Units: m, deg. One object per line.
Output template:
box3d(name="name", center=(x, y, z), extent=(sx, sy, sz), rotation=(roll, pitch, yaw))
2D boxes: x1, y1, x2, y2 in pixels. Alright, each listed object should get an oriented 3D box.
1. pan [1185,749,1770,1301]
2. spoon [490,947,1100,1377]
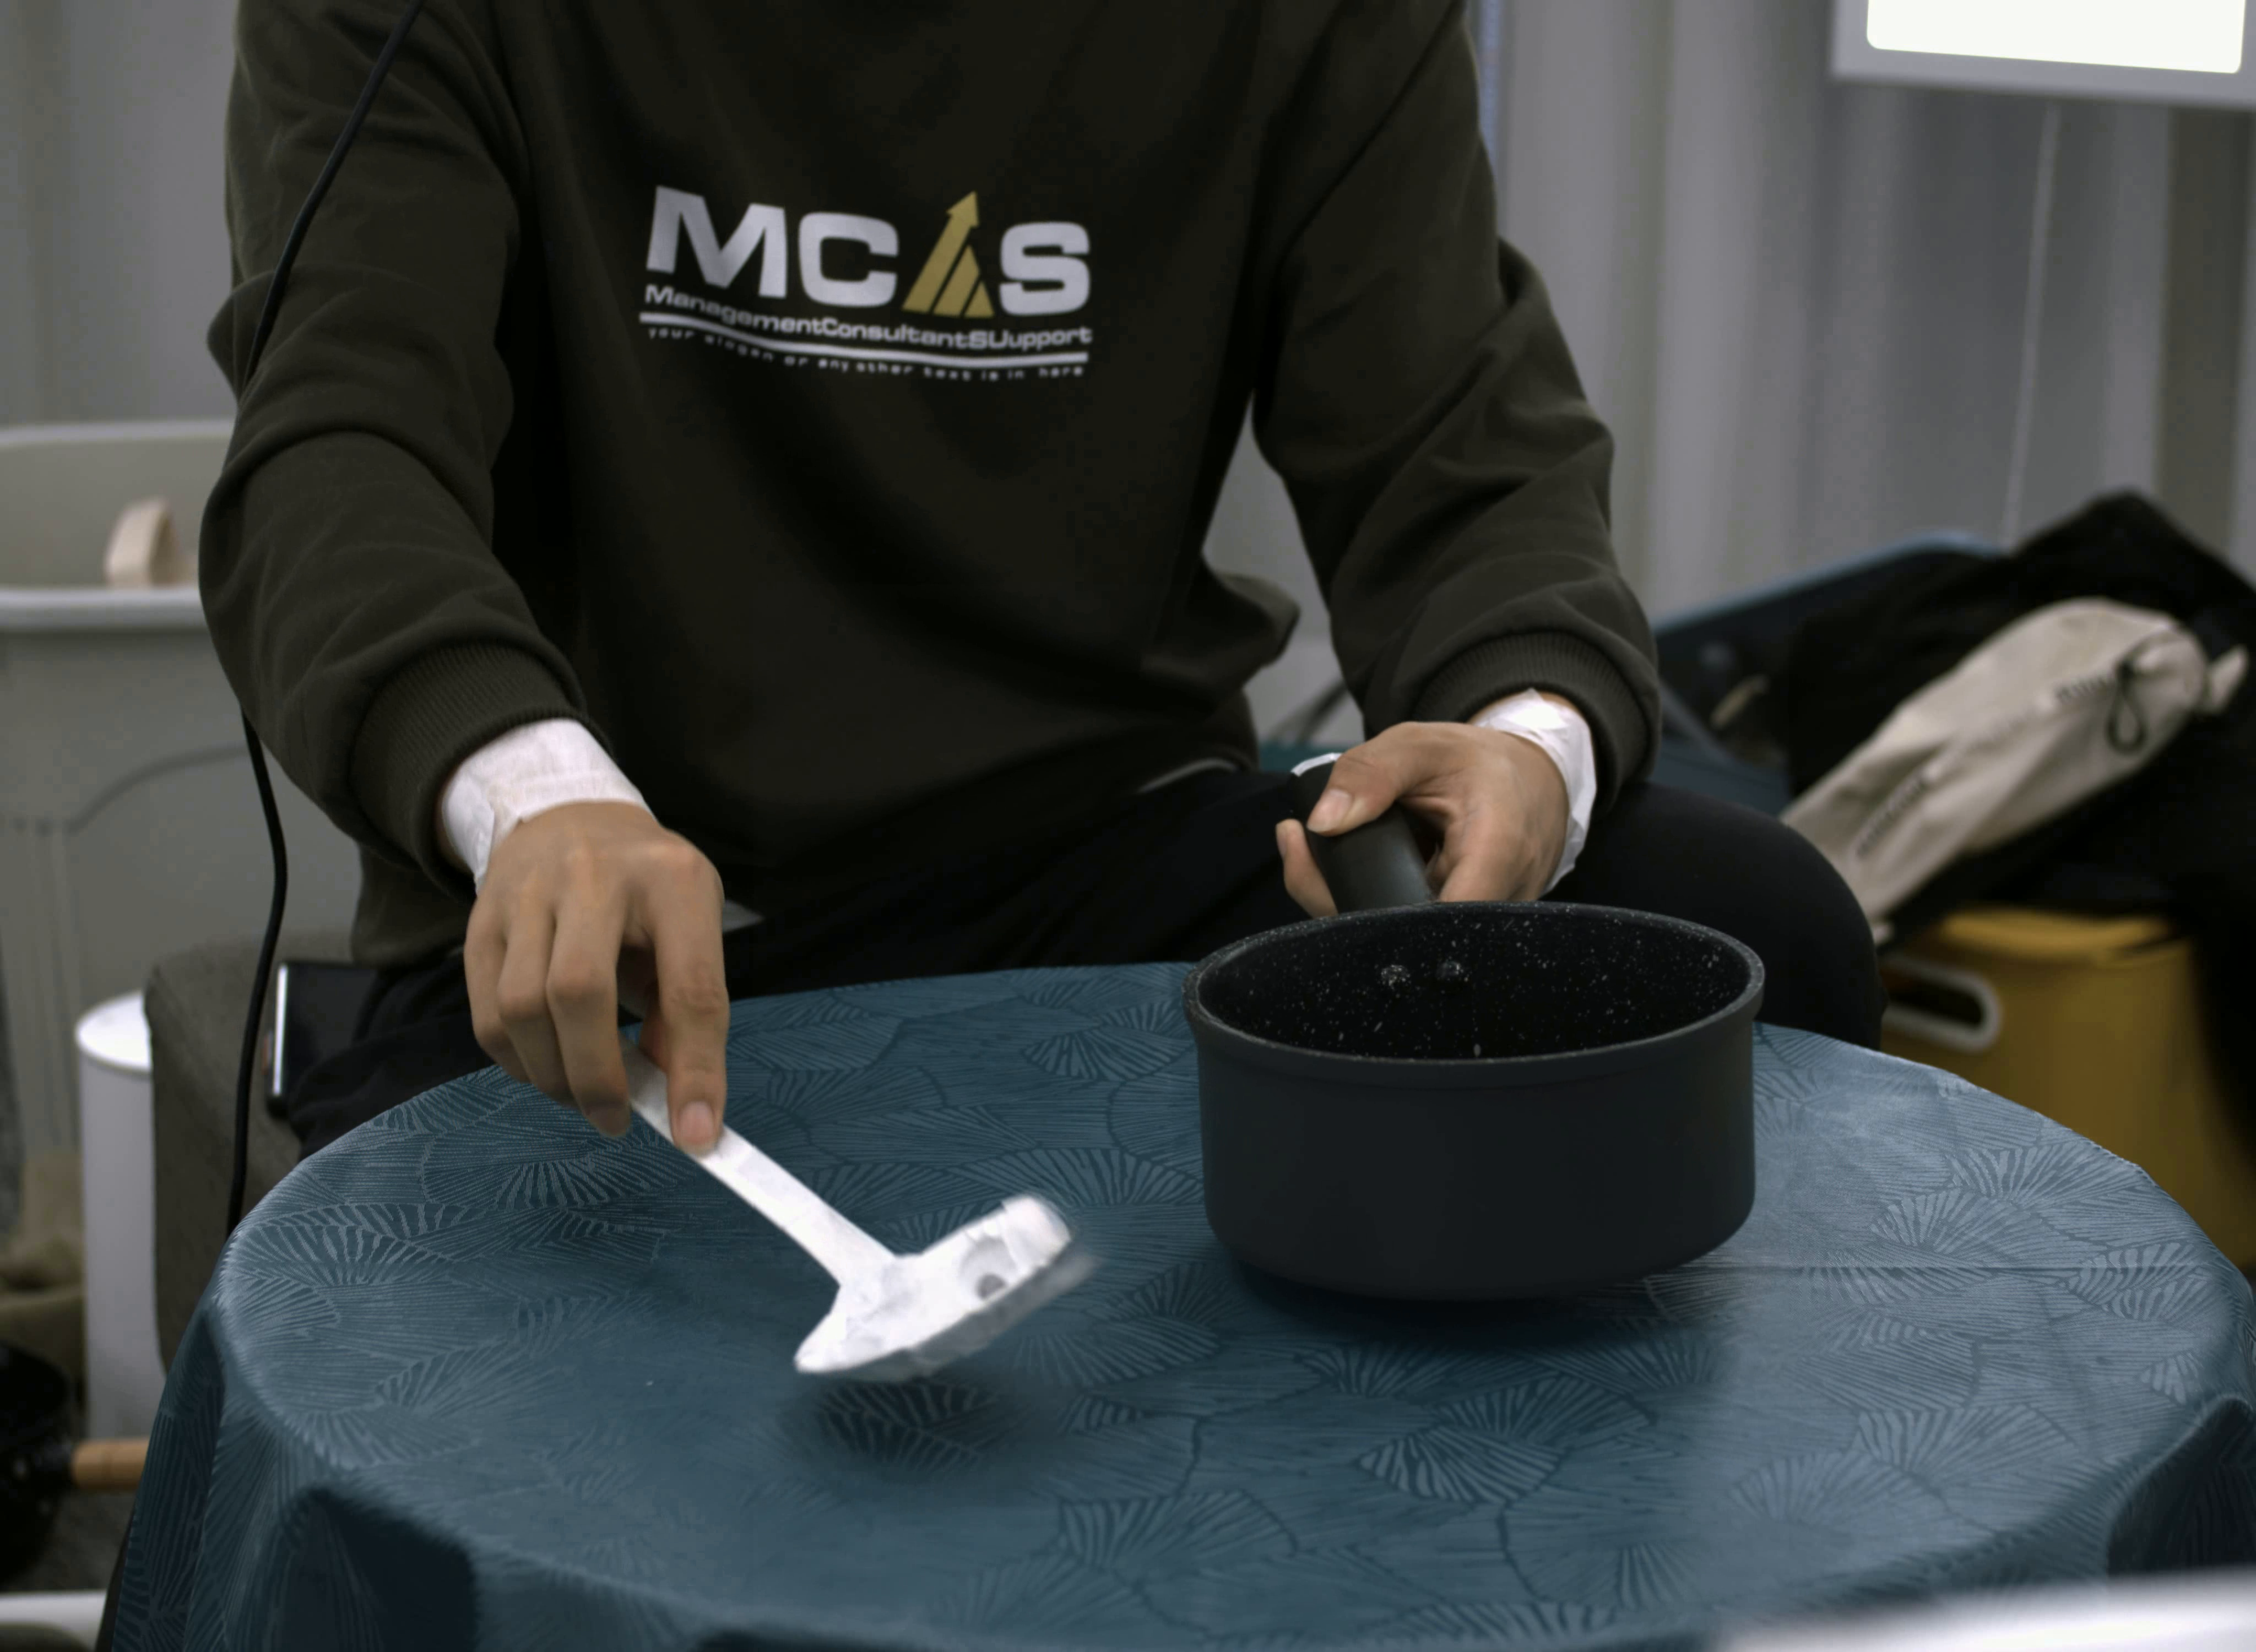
box3d(name="pan", center=(0.097, 0.057, 1.623), extent=(0.171, 0.087, 0.326), rotation=(-3, 15, -4))
box3d(name="spoon", center=(-0.107, 0.079, 1.506), extent=(0.101, 0.060, 0.273), rotation=(-27, 43, -27))
